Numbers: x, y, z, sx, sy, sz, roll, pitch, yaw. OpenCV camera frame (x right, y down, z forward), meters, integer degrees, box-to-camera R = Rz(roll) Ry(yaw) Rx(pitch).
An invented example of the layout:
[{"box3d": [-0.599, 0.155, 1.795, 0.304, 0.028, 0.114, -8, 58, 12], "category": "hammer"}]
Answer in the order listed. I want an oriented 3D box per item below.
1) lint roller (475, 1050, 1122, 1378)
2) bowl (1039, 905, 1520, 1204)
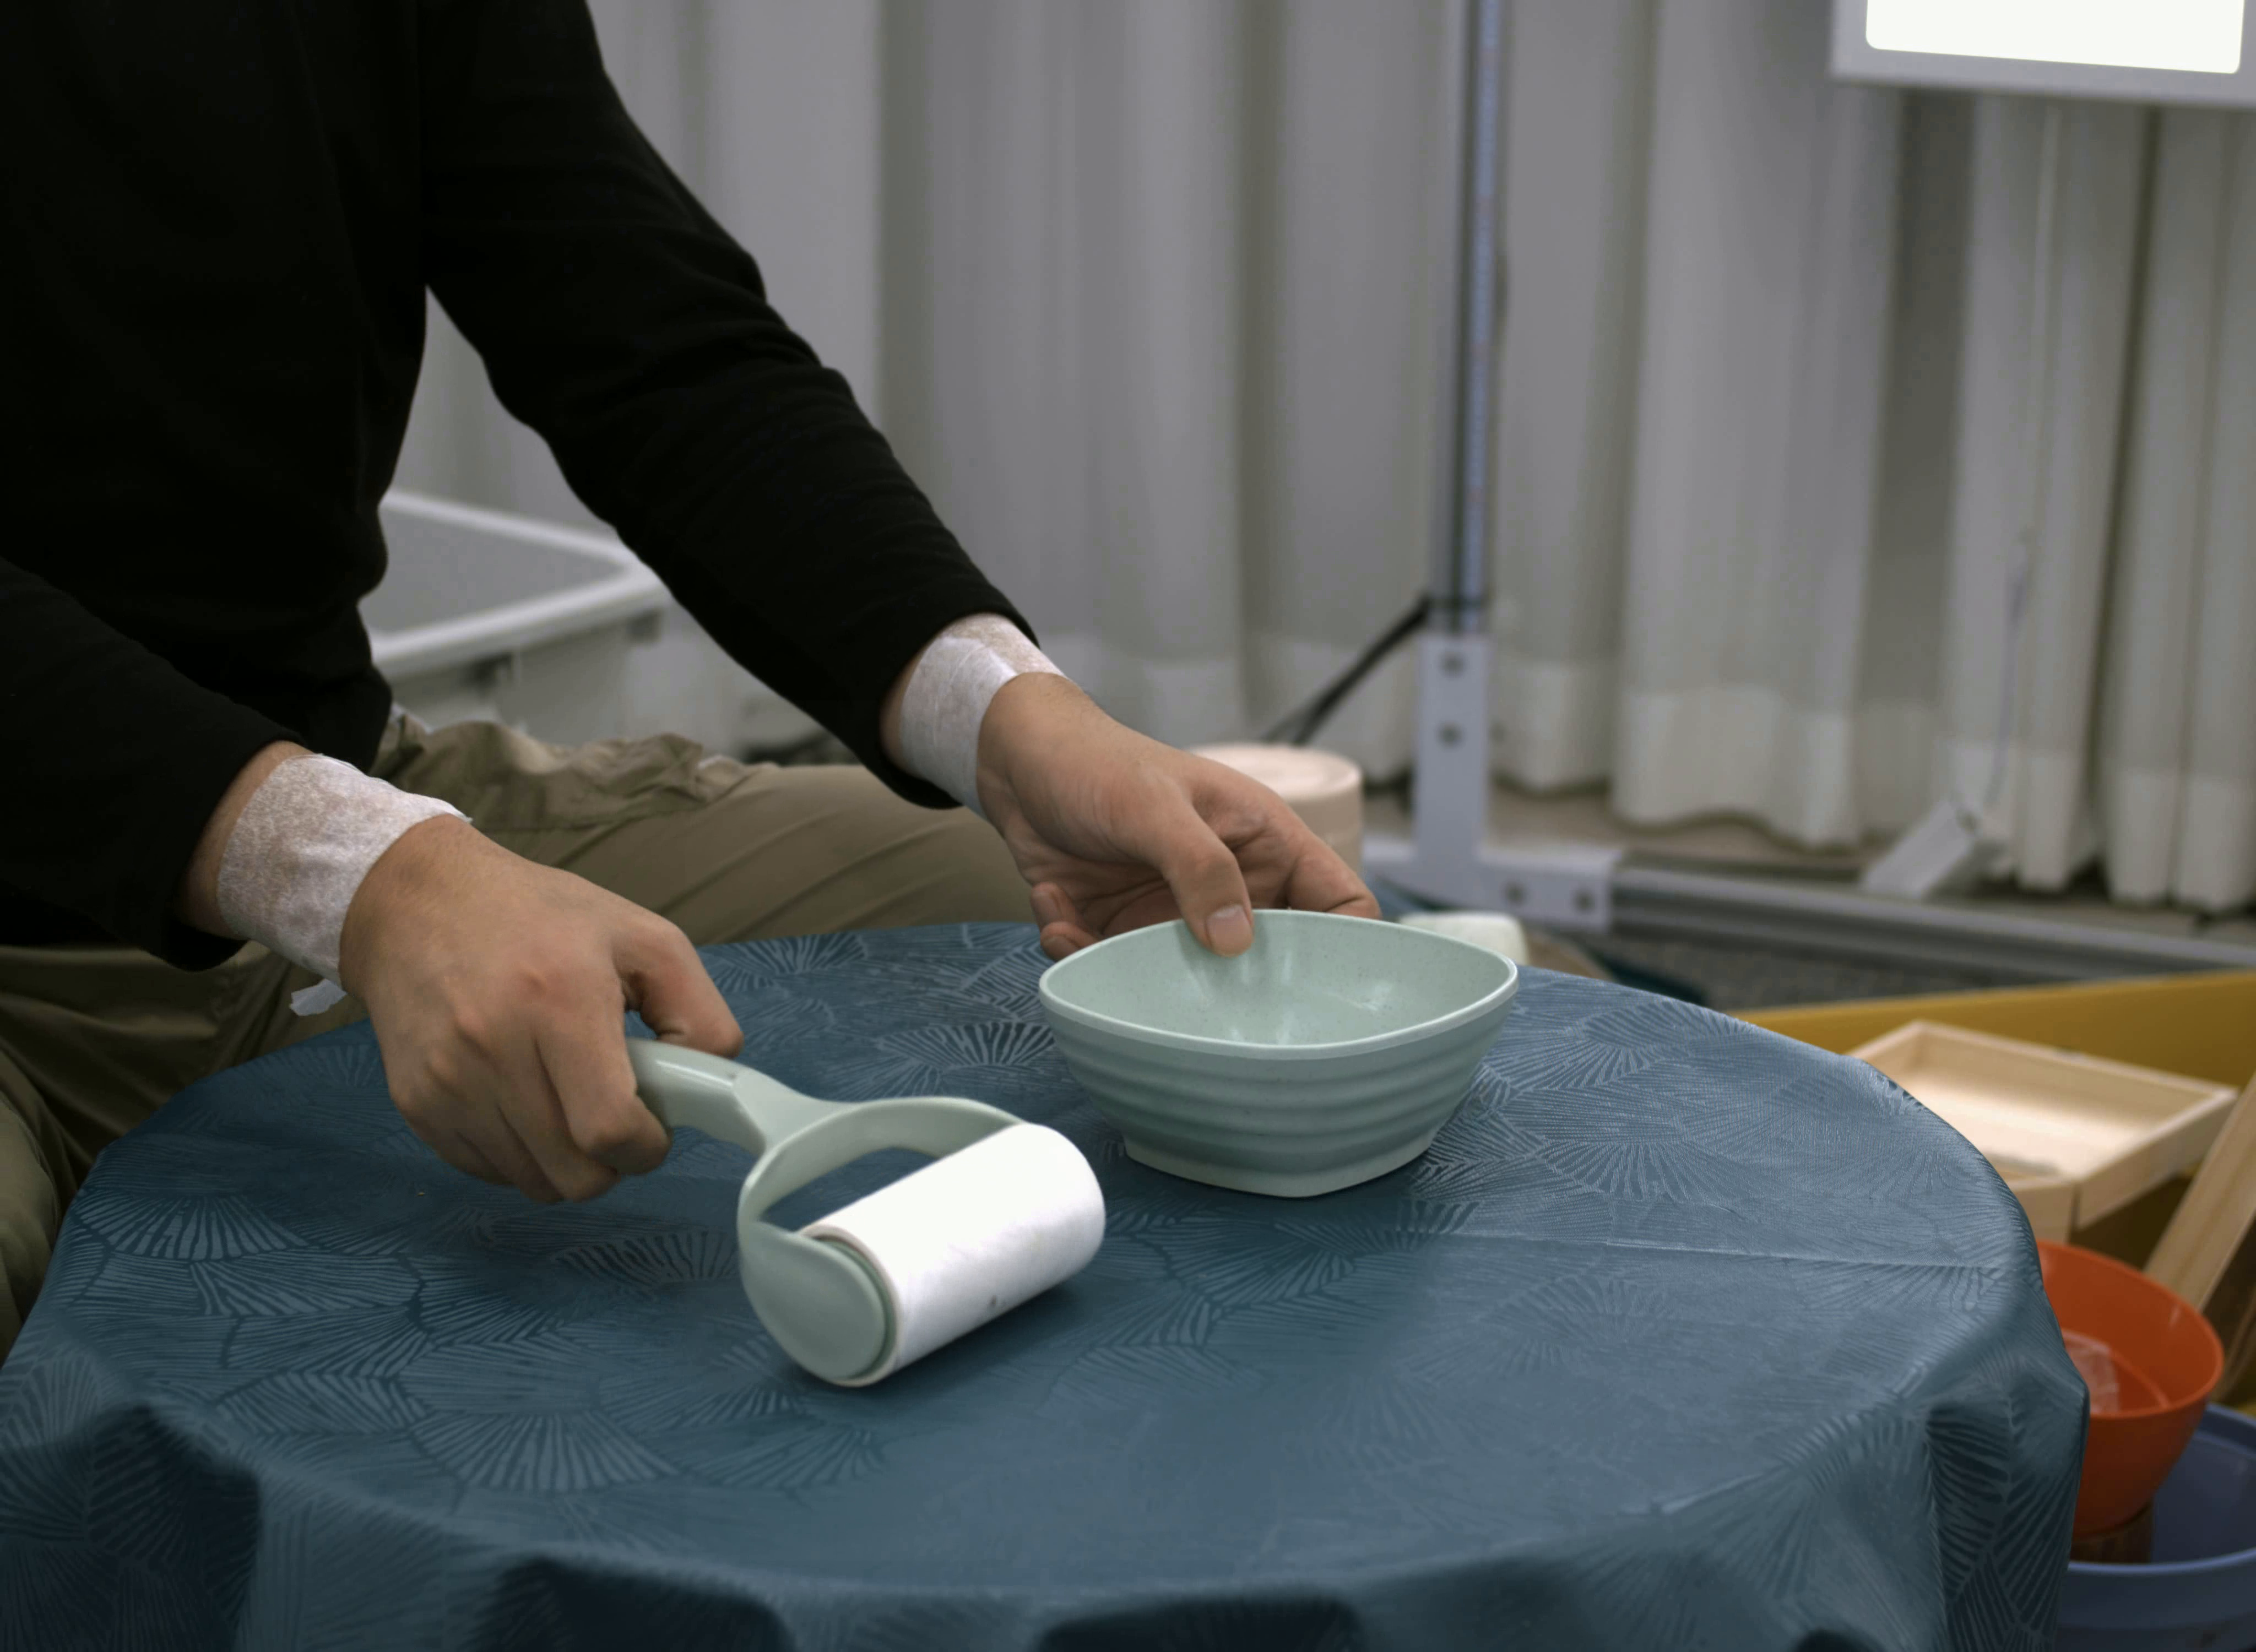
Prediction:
[{"box3d": [-0.107, 0.095, 1.532, 0.195, 0.049, 0.117, 22, 27, 27], "category": "lint roller"}, {"box3d": [0.048, 0.075, 1.653, 0.151, 0.059, 0.150, 0, 17, 0], "category": "bowl"}]
